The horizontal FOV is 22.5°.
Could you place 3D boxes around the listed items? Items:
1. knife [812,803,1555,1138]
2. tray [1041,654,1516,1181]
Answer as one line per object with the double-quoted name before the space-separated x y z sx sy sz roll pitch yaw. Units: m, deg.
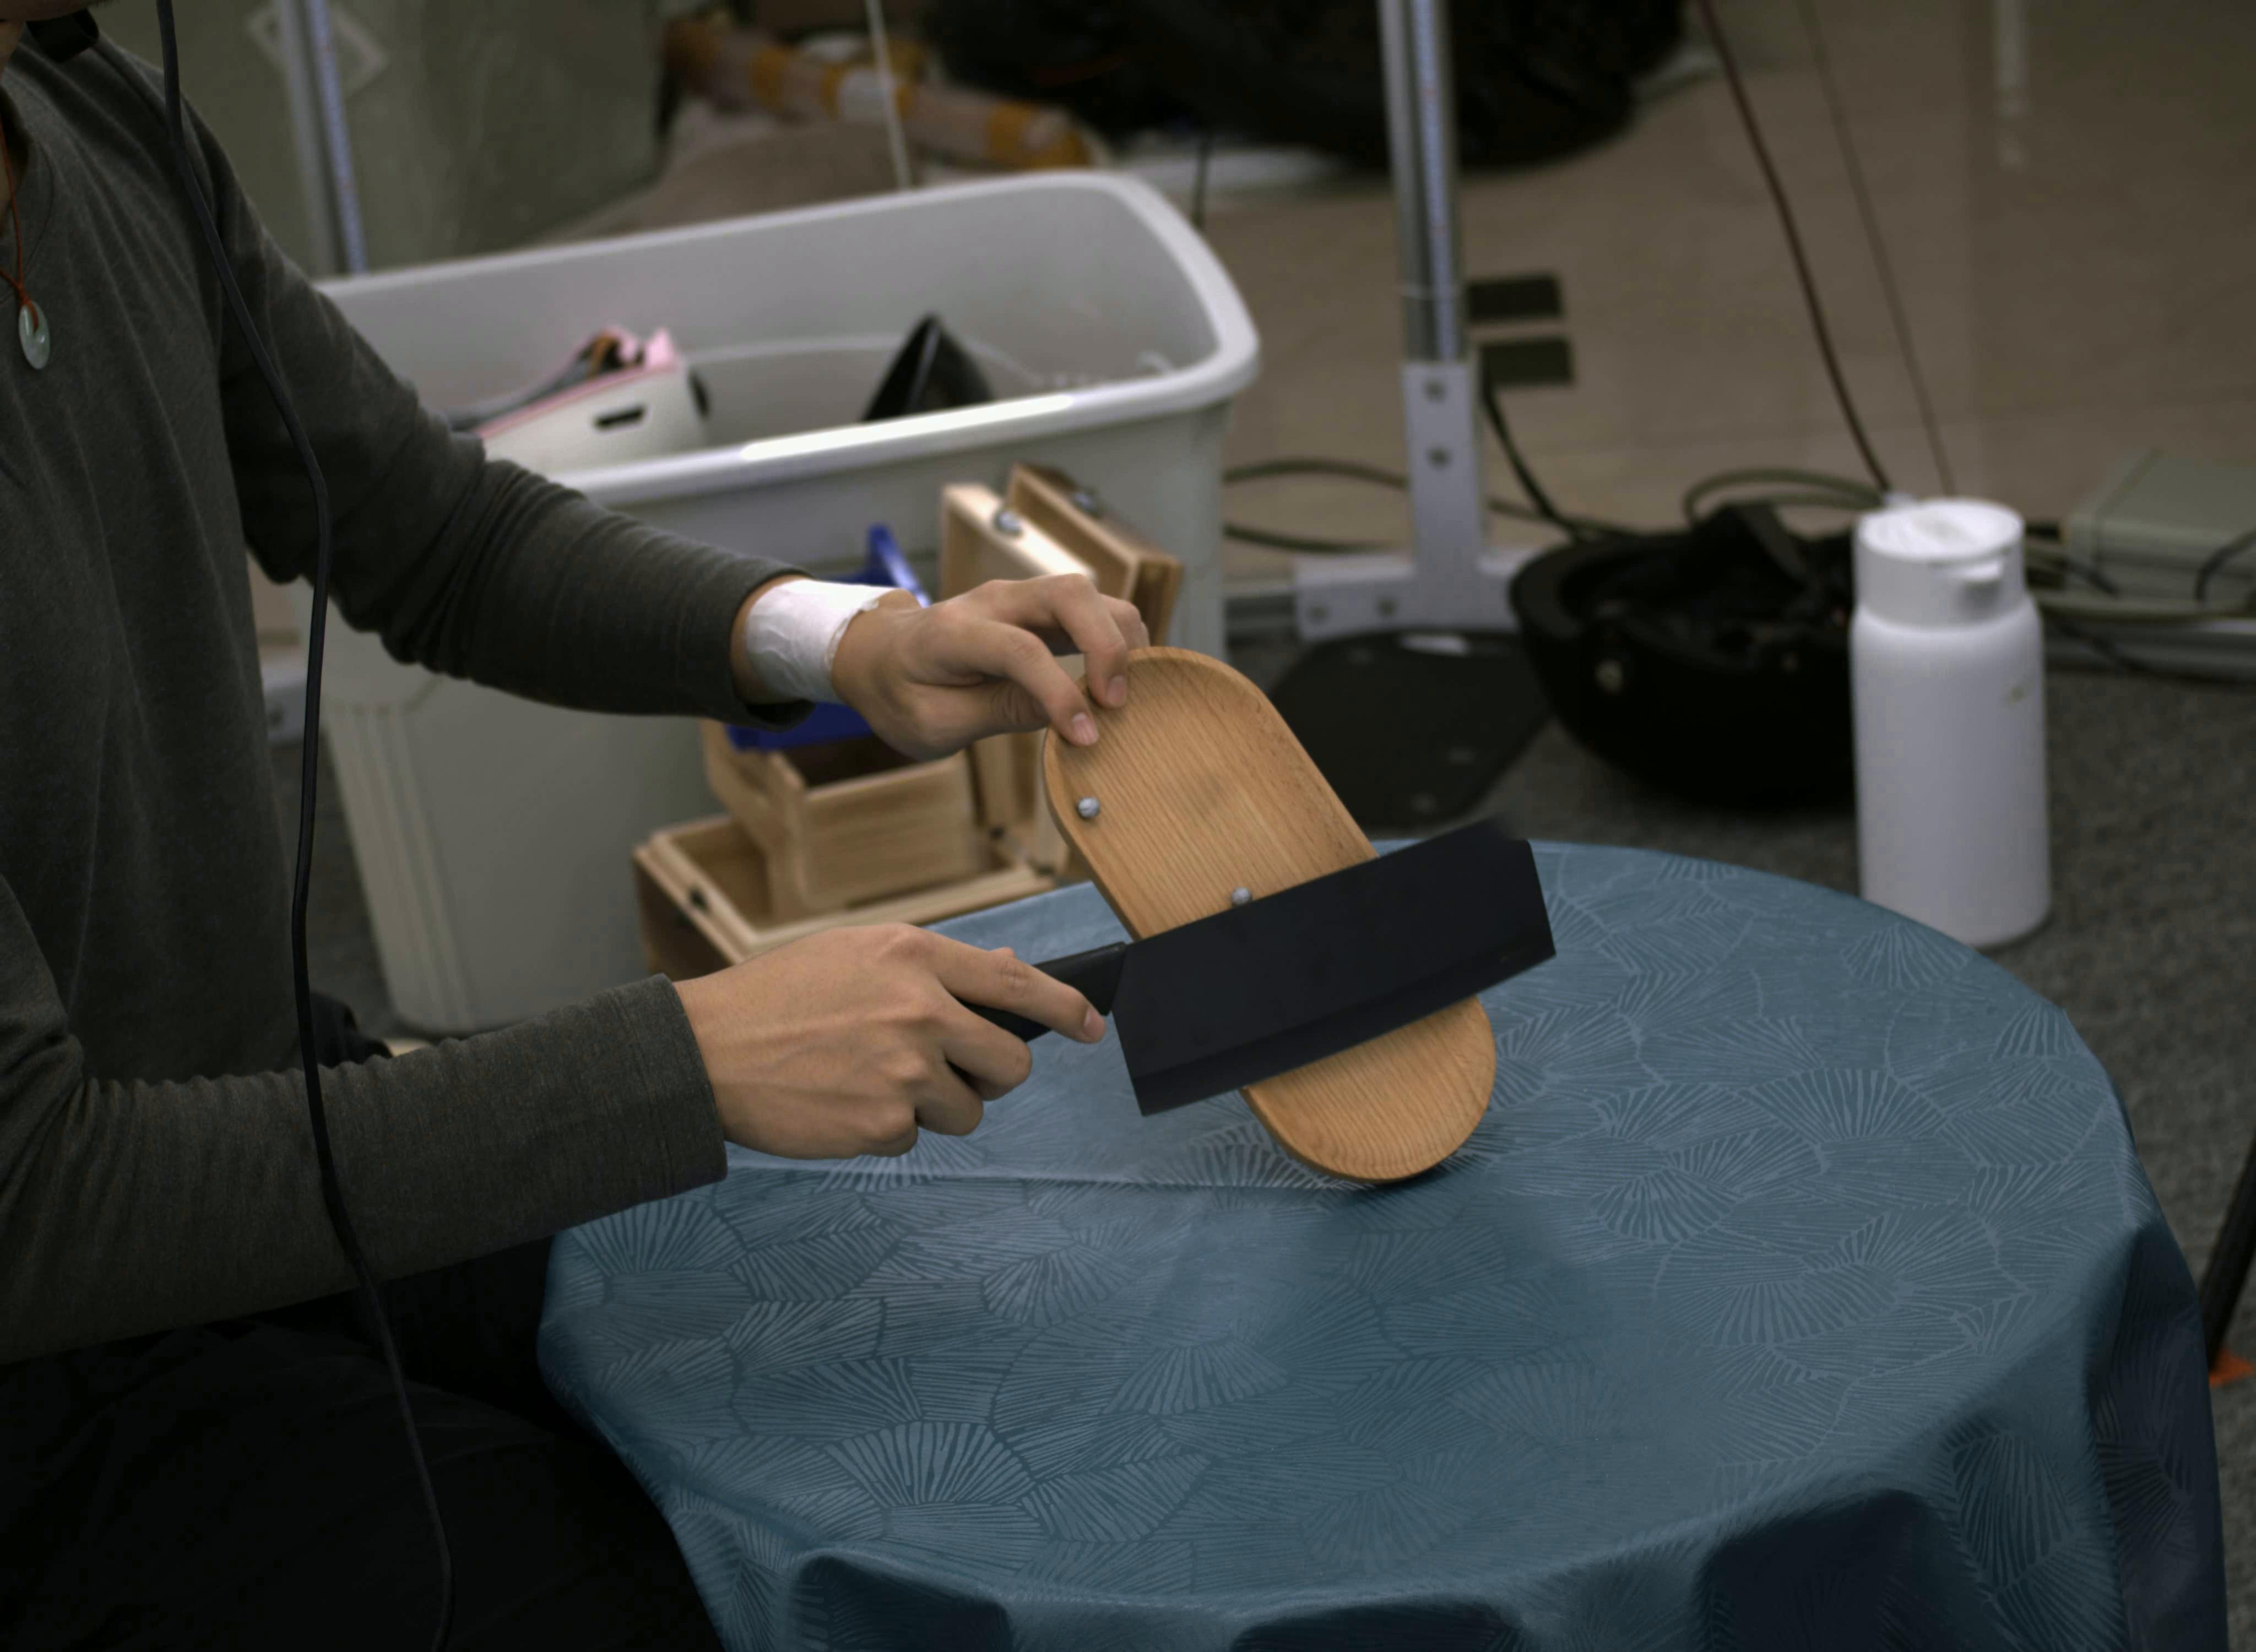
"knife" 0.023 0.063 2.105 0.301 0.081 0.021 -15 12 -20
"tray" 0.056 0.035 2.150 0.101 0.230 0.020 -36 -5 -20
